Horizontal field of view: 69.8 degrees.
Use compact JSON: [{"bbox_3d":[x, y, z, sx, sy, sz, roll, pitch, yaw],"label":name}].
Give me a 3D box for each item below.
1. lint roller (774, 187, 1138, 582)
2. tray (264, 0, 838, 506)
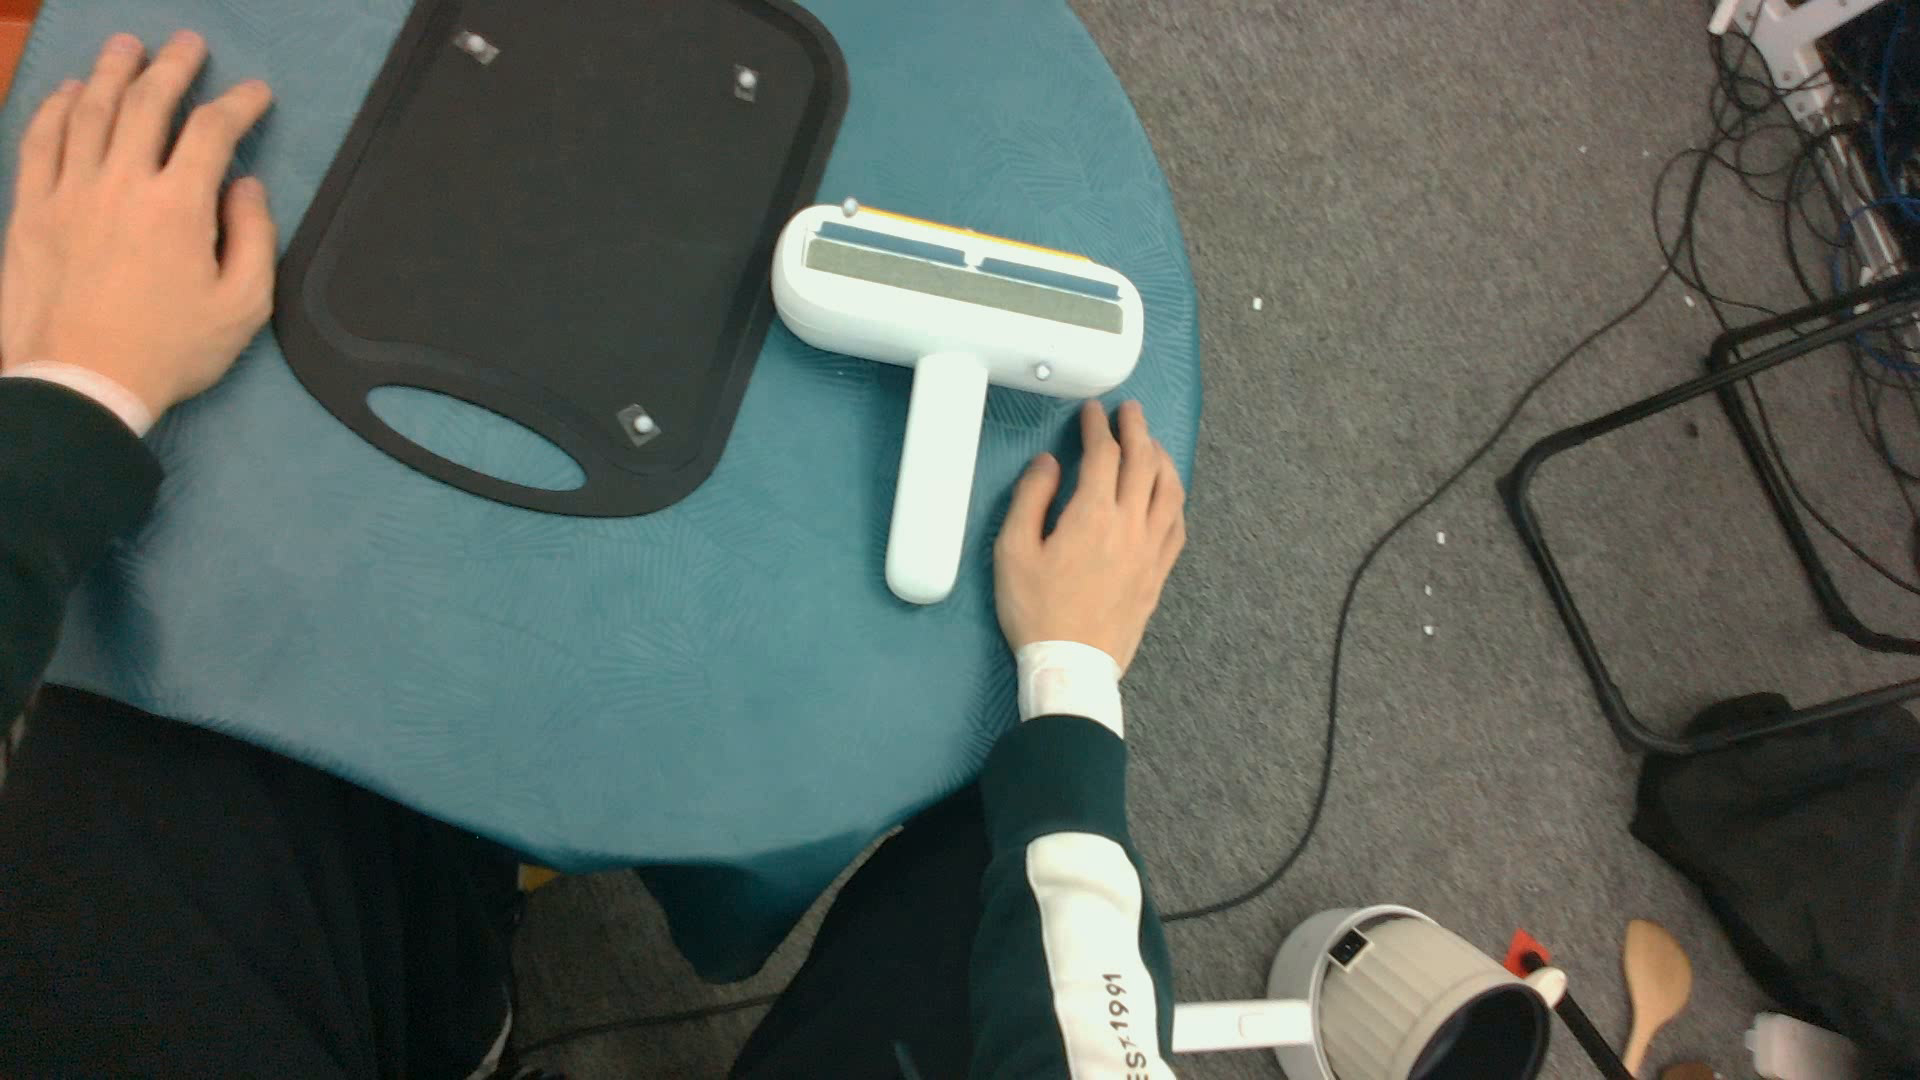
[{"bbox_3d":[-0.017,-0.071,0.719,0.193,0.074,0.192,15,85,-13],"label":"lint roller"},{"bbox_3d":[-0.190,-0.175,0.681,0.211,0.010,0.326,23,68,-18],"label":"tray"}]
